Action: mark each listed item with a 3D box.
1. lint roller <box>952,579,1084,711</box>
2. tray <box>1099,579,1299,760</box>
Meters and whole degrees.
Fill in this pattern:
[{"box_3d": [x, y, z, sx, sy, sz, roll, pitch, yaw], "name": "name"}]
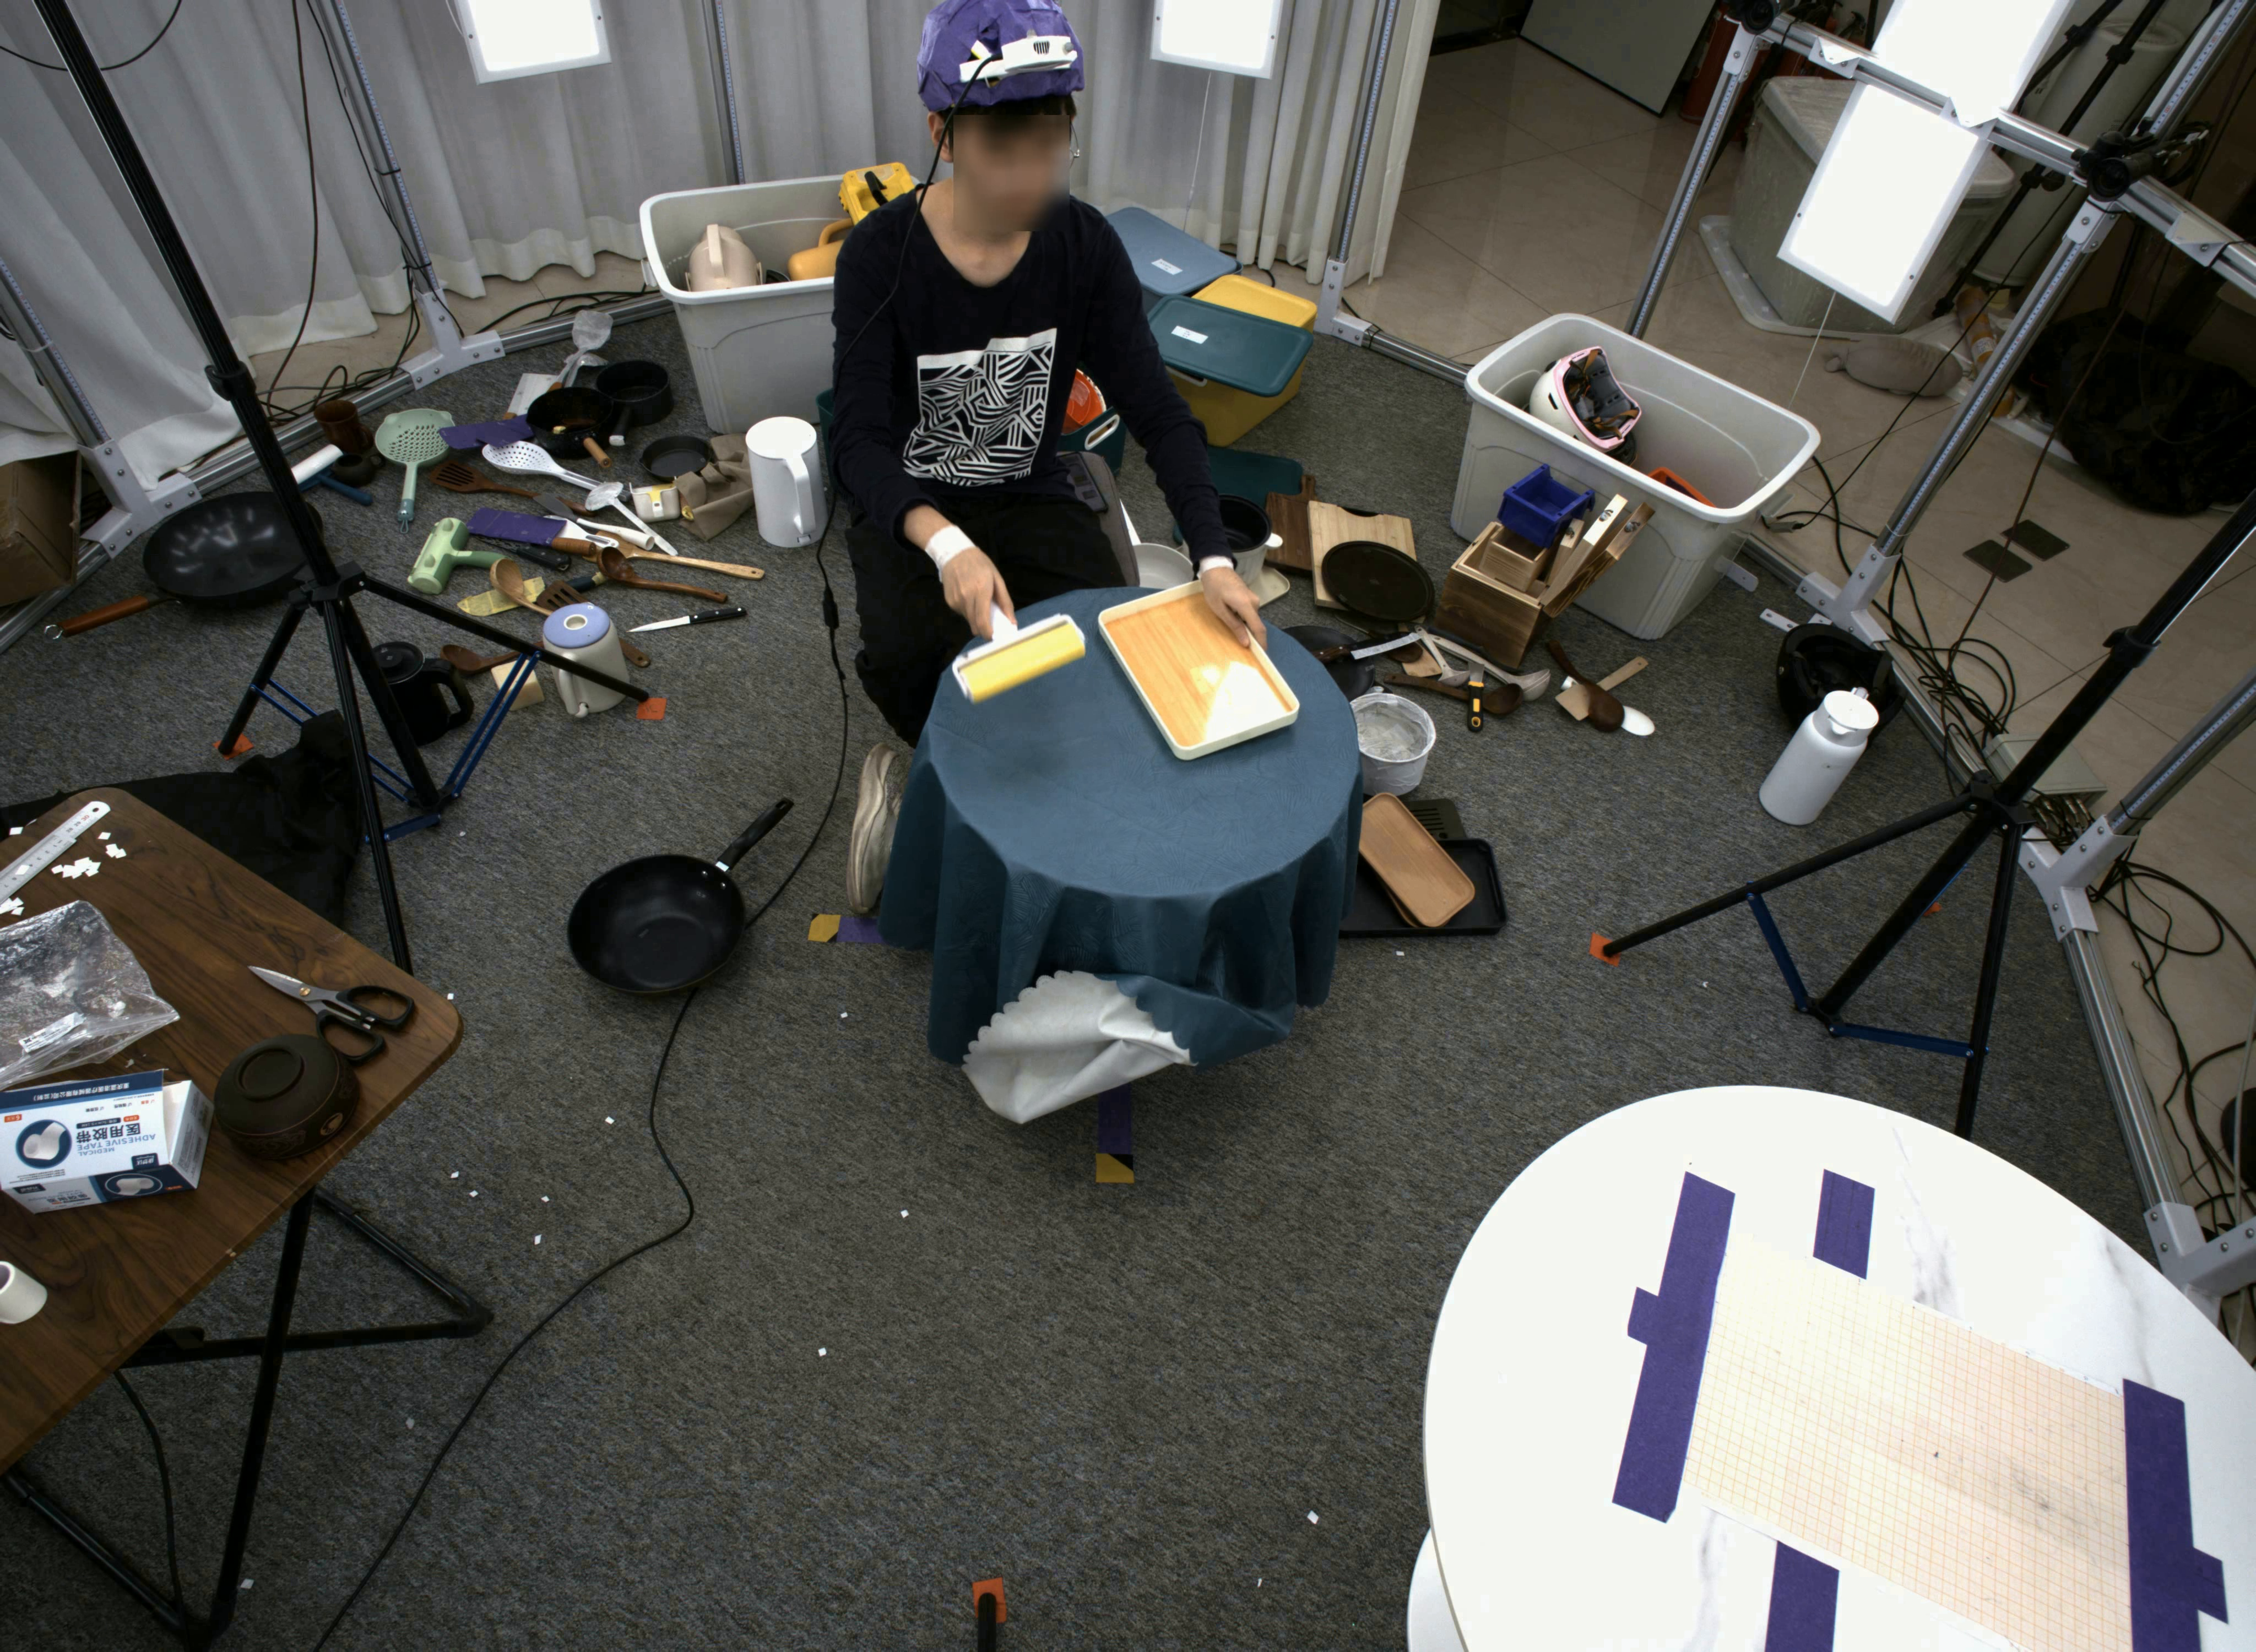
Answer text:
[{"box_3d": [-0.174, -0.263, 1.705, 0.174, 0.050, 0.195, -27, 69, -10], "name": "lint roller"}, {"box_3d": [0.098, -0.231, 1.843, 0.192, 0.027, 0.307, -19, 53, -12], "name": "tray"}]
